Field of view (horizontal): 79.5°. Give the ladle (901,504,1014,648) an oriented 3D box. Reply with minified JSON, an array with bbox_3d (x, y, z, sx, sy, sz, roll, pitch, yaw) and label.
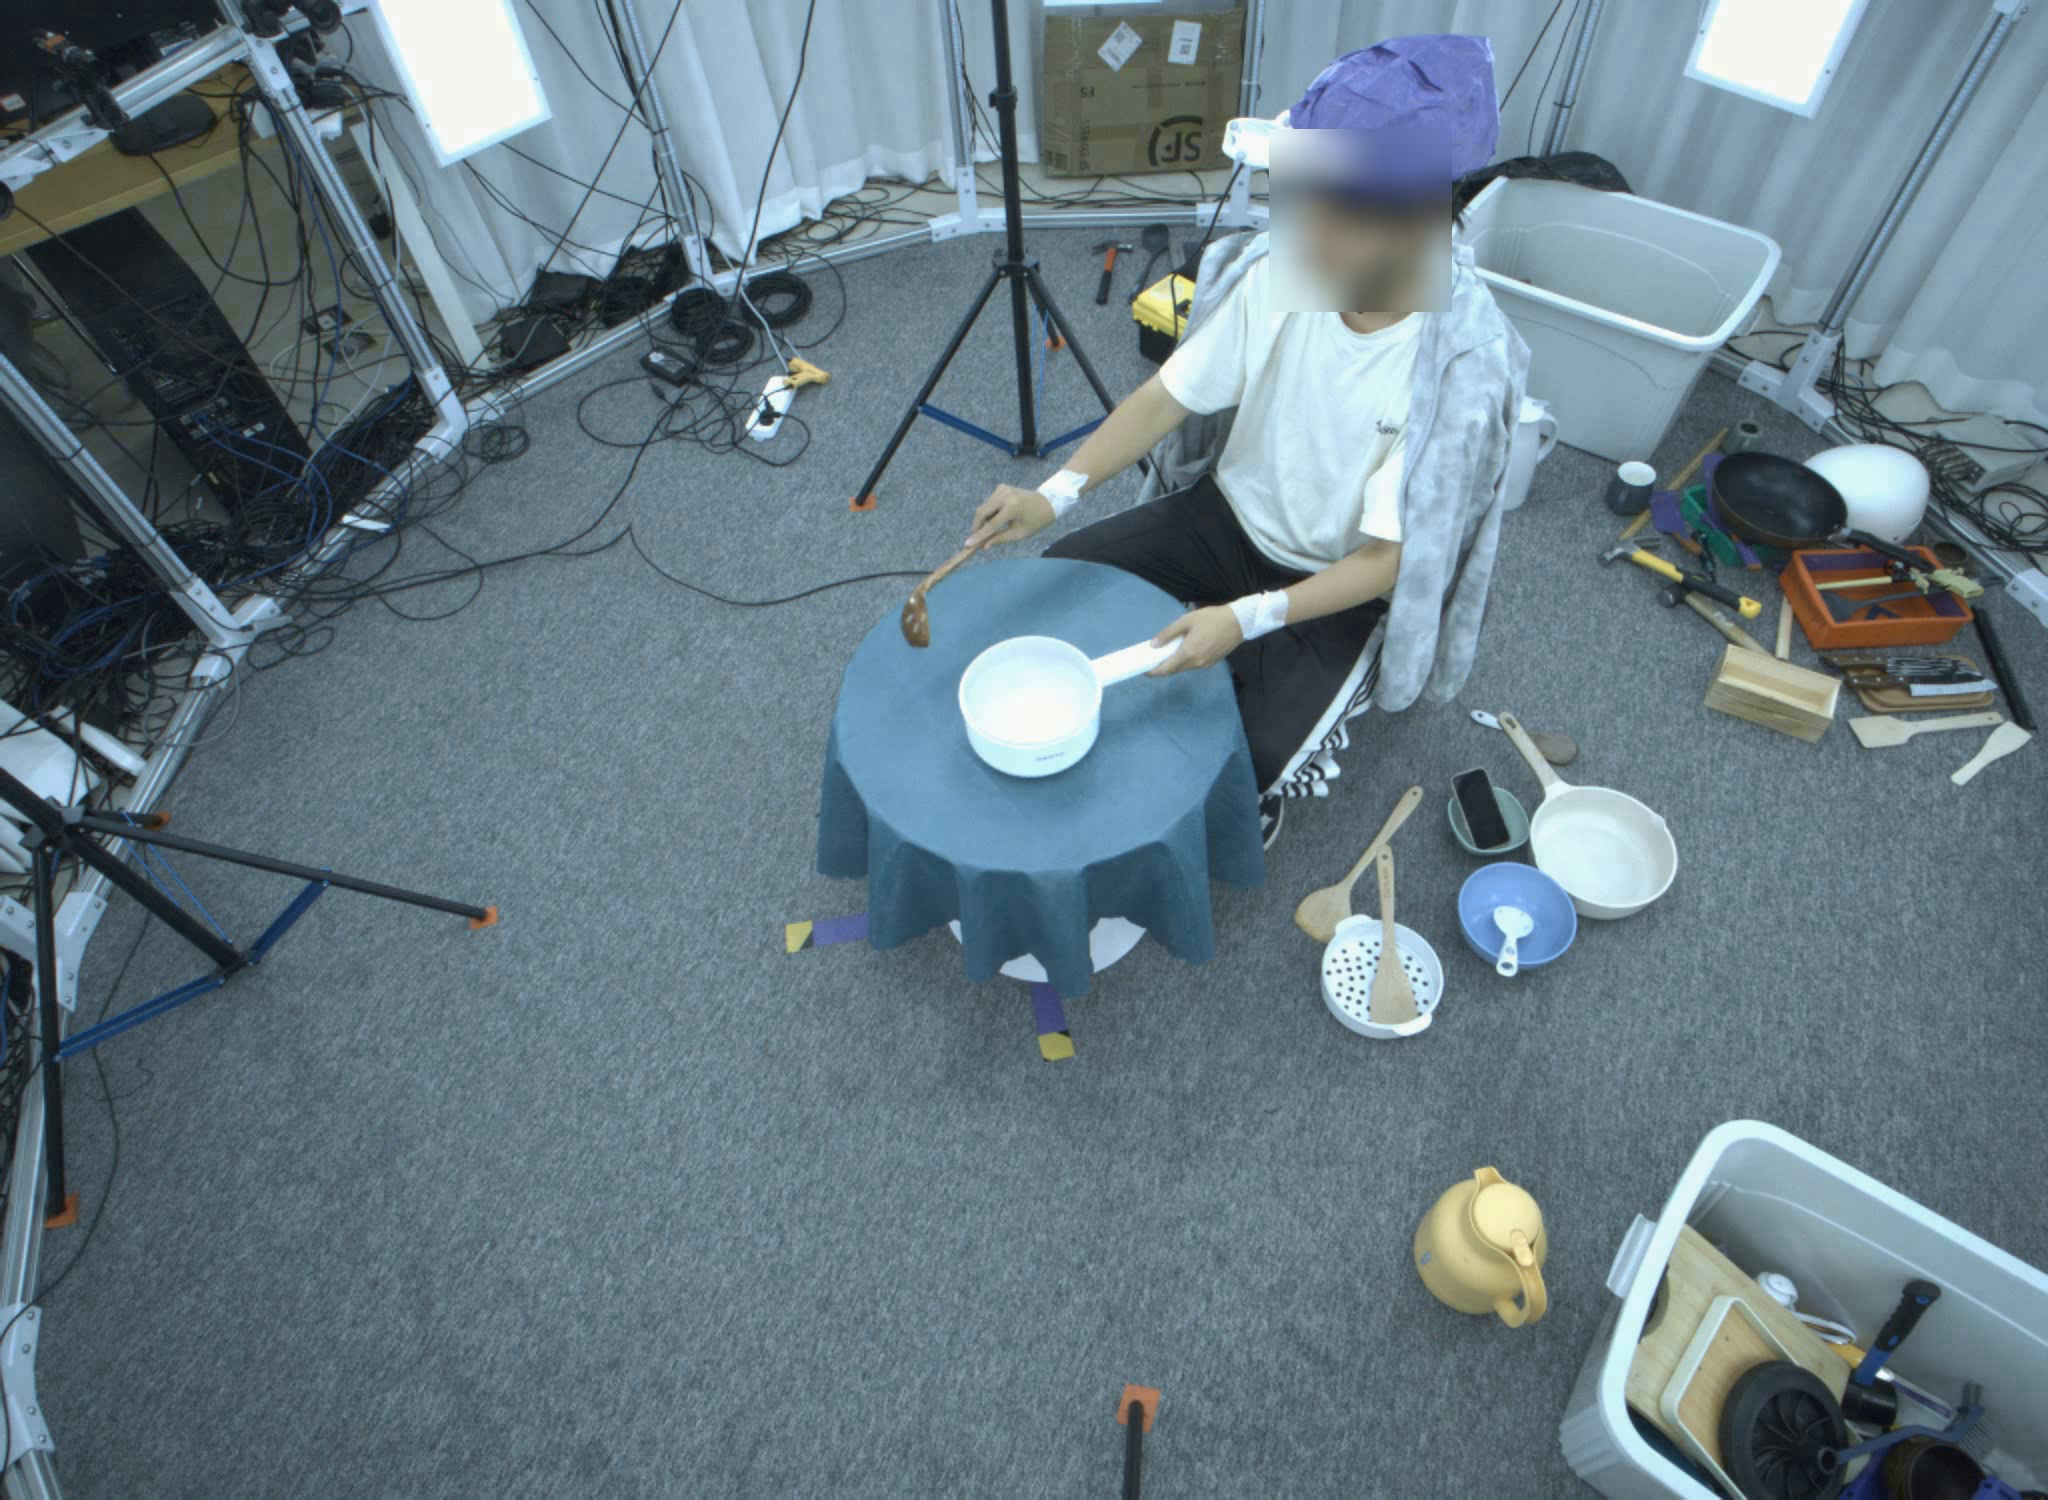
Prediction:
[{"bbox_3d":[-0.086,-0.258,1.814,0.077,0.081,0.275,47,67,-6],"label":"ladle"}]

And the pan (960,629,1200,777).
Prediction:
[{"bbox_3d":[0.084,-0.082,1.784,0.357,0.103,0.197,-19,56,-12],"label":"pan"}]
